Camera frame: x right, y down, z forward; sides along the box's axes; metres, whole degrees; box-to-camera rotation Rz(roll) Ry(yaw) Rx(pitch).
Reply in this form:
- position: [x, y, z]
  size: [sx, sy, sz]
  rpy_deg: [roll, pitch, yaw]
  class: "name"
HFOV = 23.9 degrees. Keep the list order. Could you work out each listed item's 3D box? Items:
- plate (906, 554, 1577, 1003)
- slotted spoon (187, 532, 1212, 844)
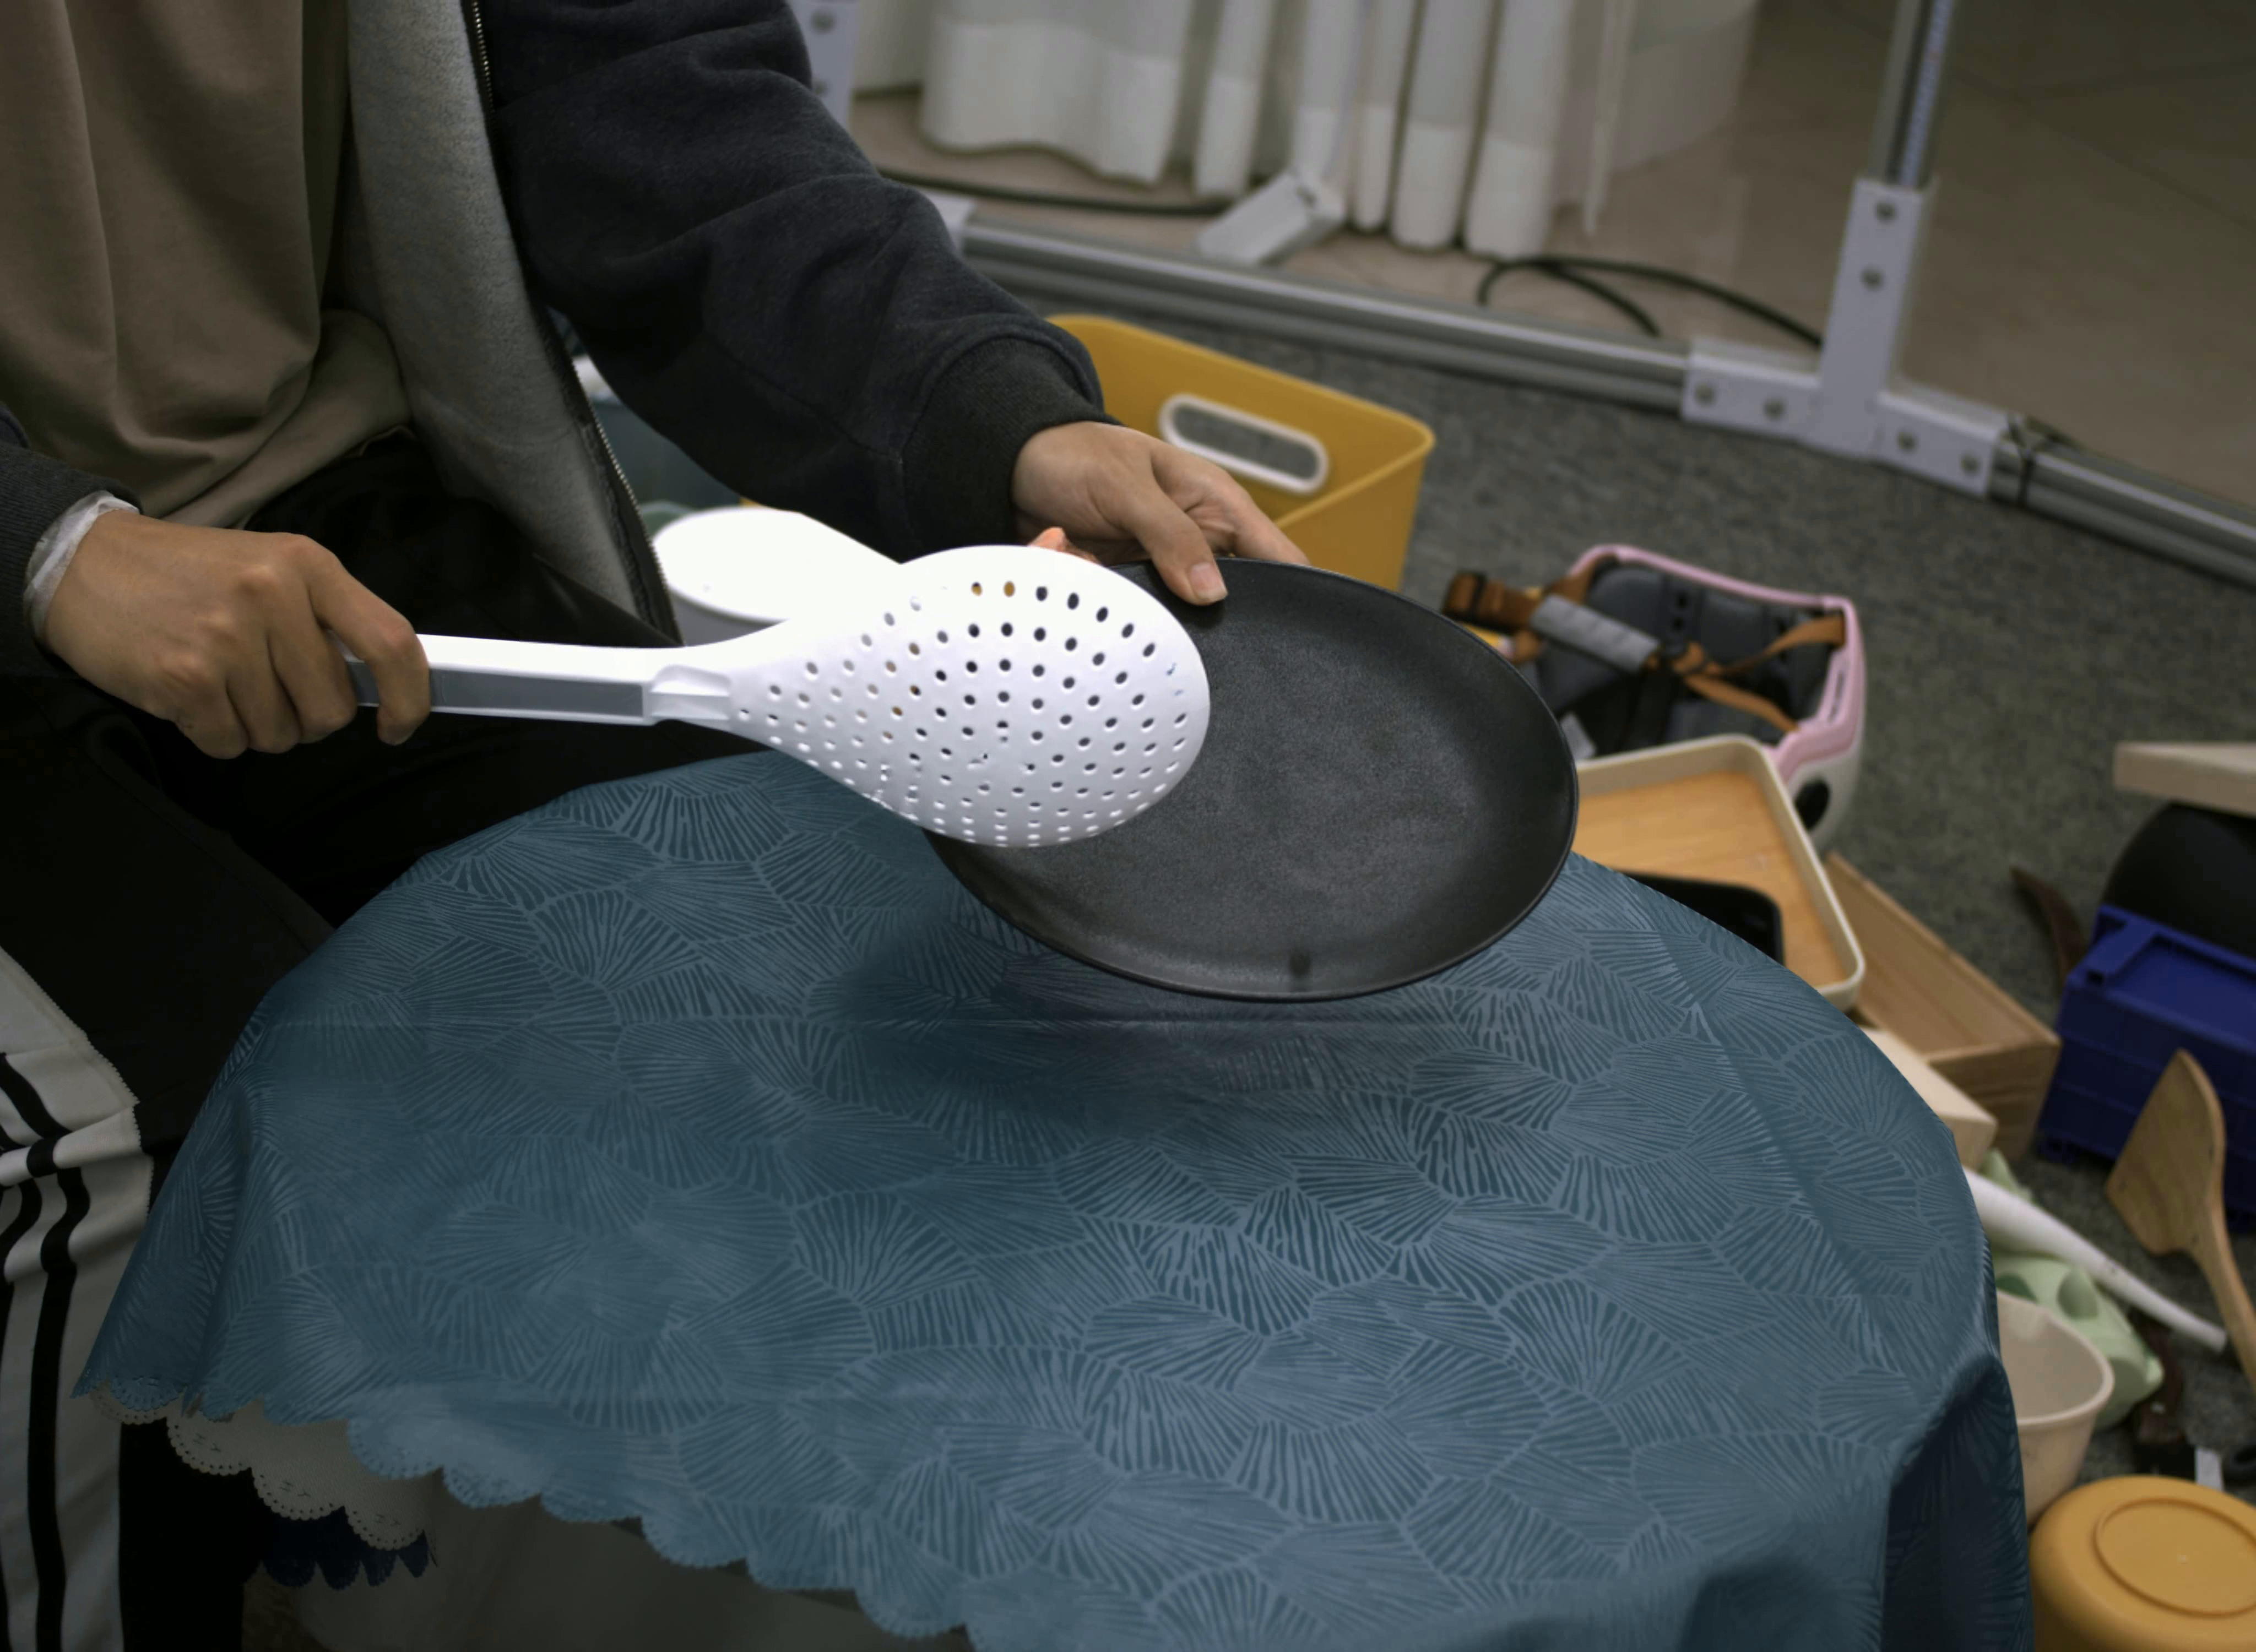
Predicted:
- position: [0.039, -0.014, 1.903]
  size: [0.243, 0.023, 0.246]
  rpy_deg: [3, 41, -3]
  class: "plate"
- position: [-0.147, -0.049, 1.815]
  size: [0.349, 0.135, 0.046]
  rpy_deg: [7, 42, 6]
  class: "slotted spoon"
